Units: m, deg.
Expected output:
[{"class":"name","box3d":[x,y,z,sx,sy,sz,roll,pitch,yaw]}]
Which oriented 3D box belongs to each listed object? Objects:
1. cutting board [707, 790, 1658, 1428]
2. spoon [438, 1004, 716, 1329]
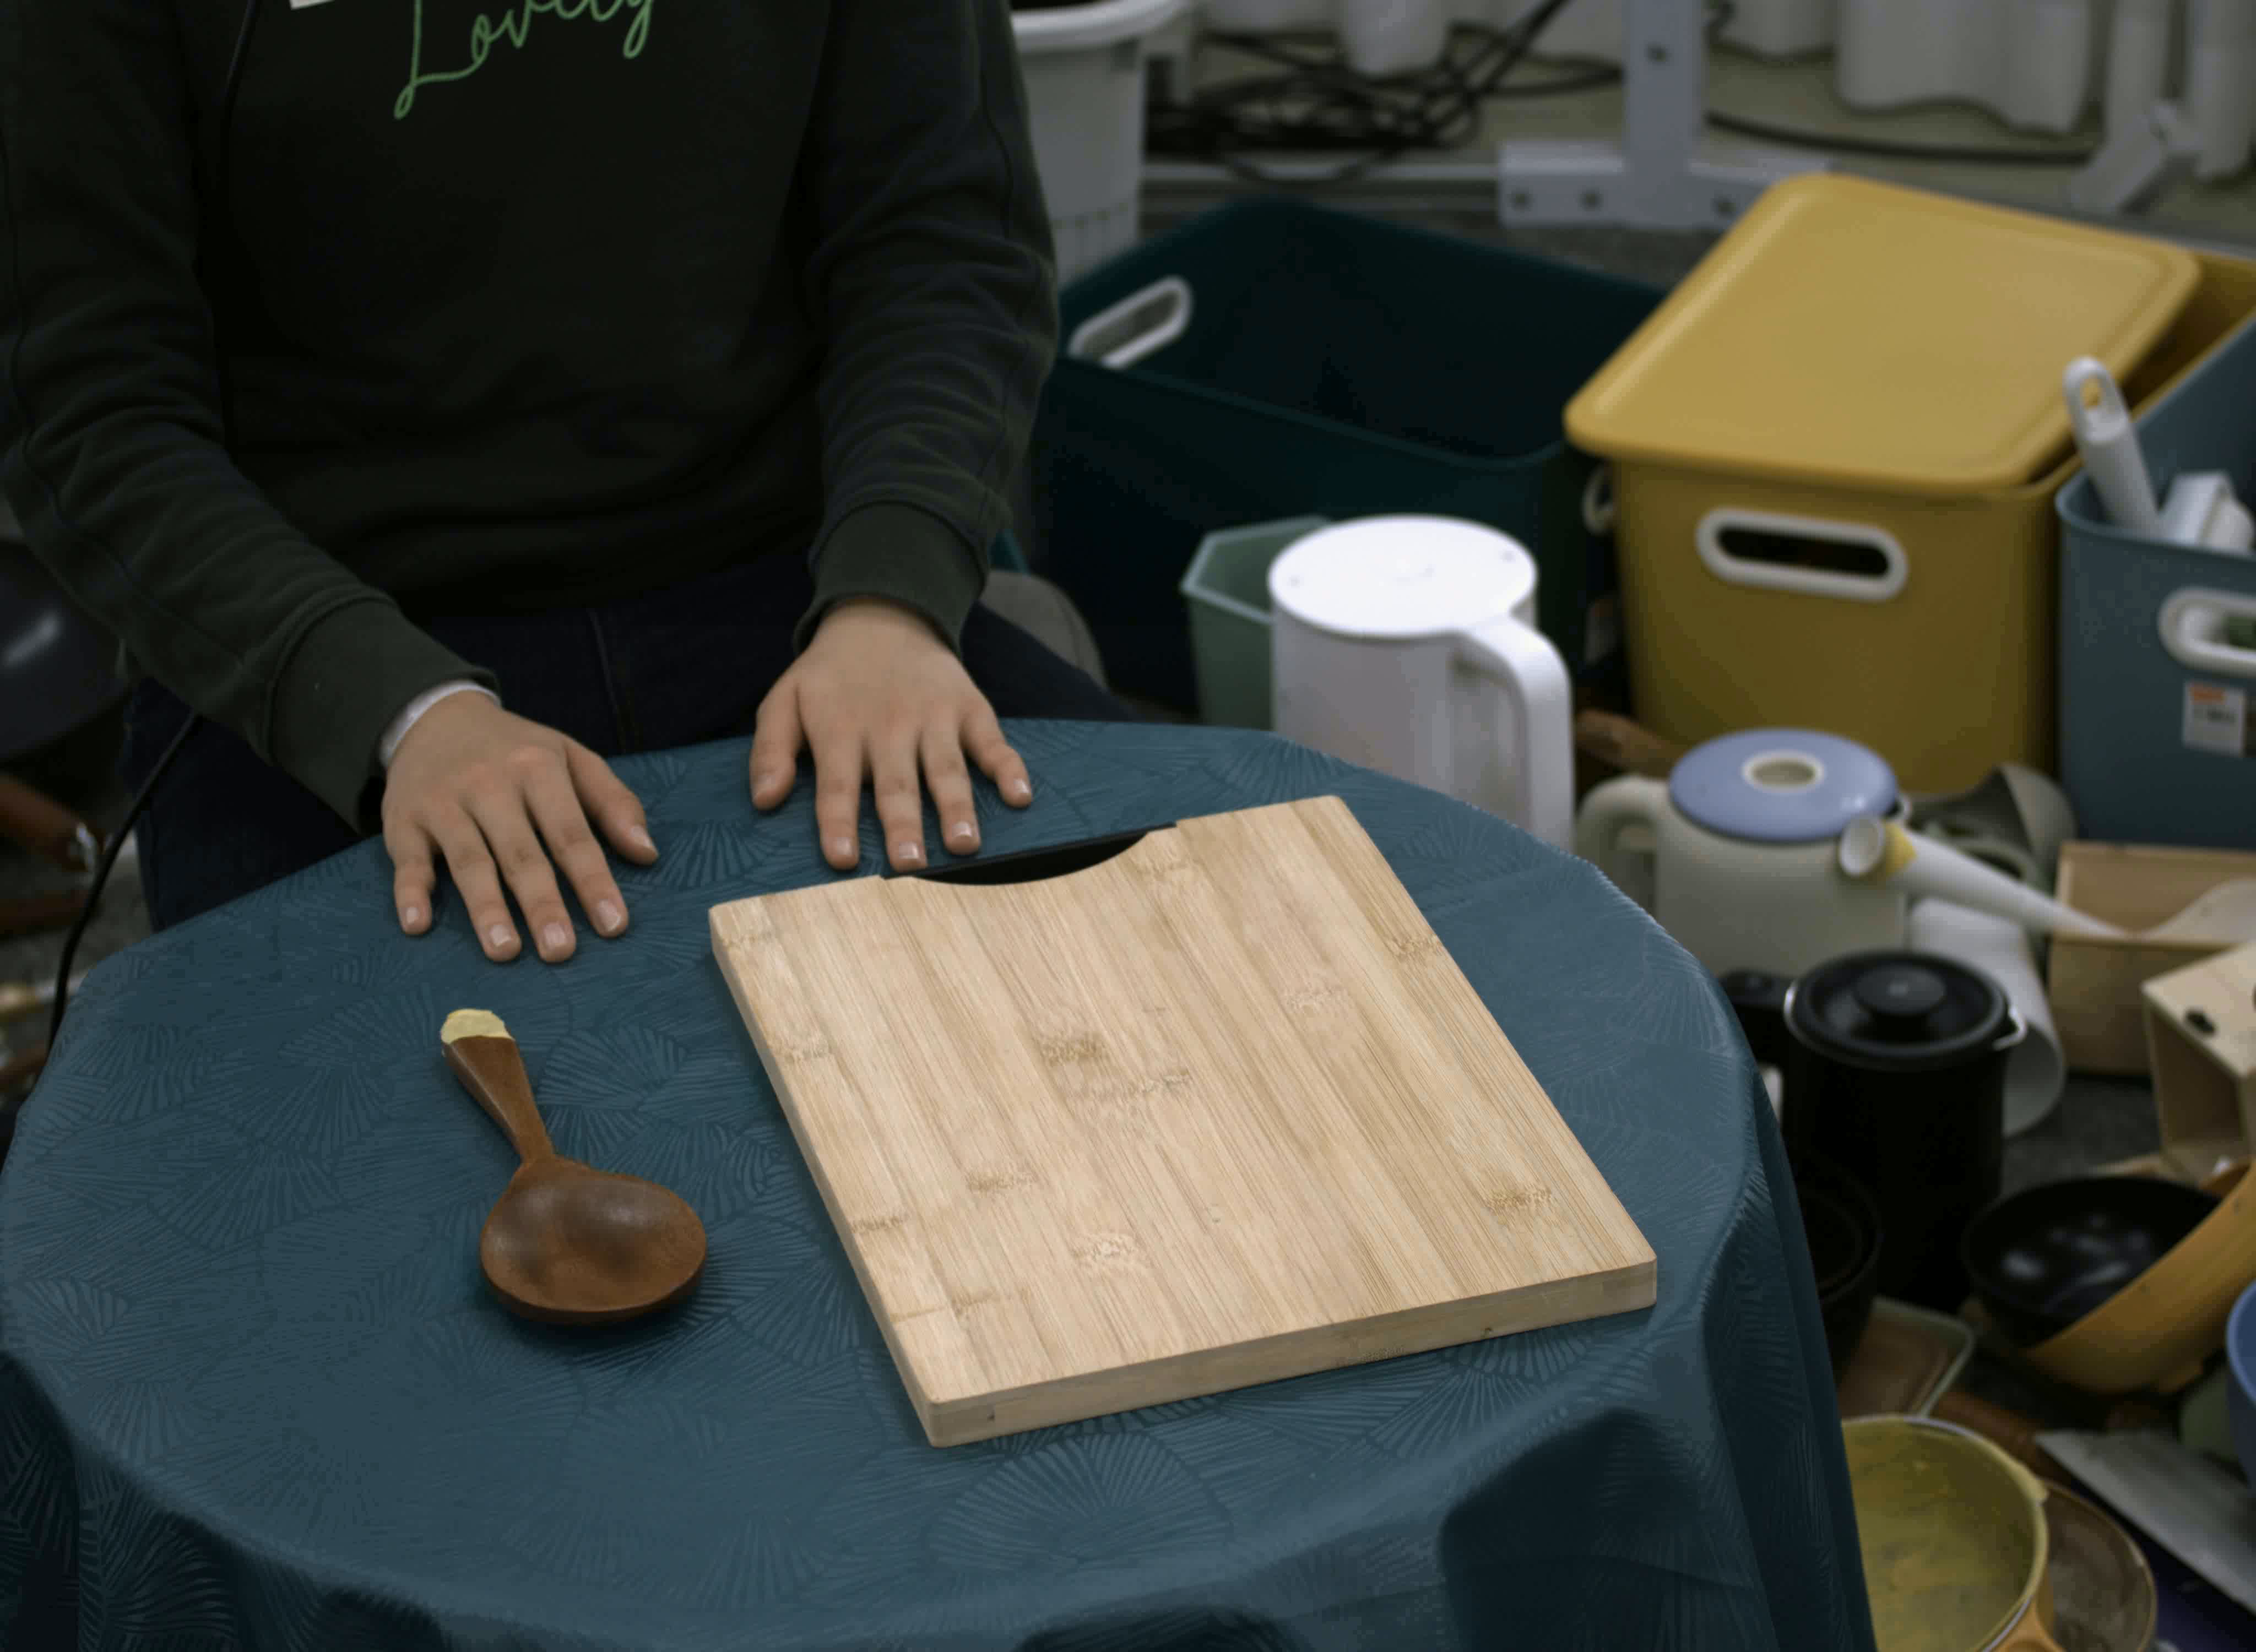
[{"class":"cutting board","box3d":[0.008,0.089,1.906,0.251,0.023,0.352,-9,28,-14]},{"class":"spoon","box3d":[-0.194,0.114,1.876,0.075,0.017,0.217,-13,29,-16]}]
